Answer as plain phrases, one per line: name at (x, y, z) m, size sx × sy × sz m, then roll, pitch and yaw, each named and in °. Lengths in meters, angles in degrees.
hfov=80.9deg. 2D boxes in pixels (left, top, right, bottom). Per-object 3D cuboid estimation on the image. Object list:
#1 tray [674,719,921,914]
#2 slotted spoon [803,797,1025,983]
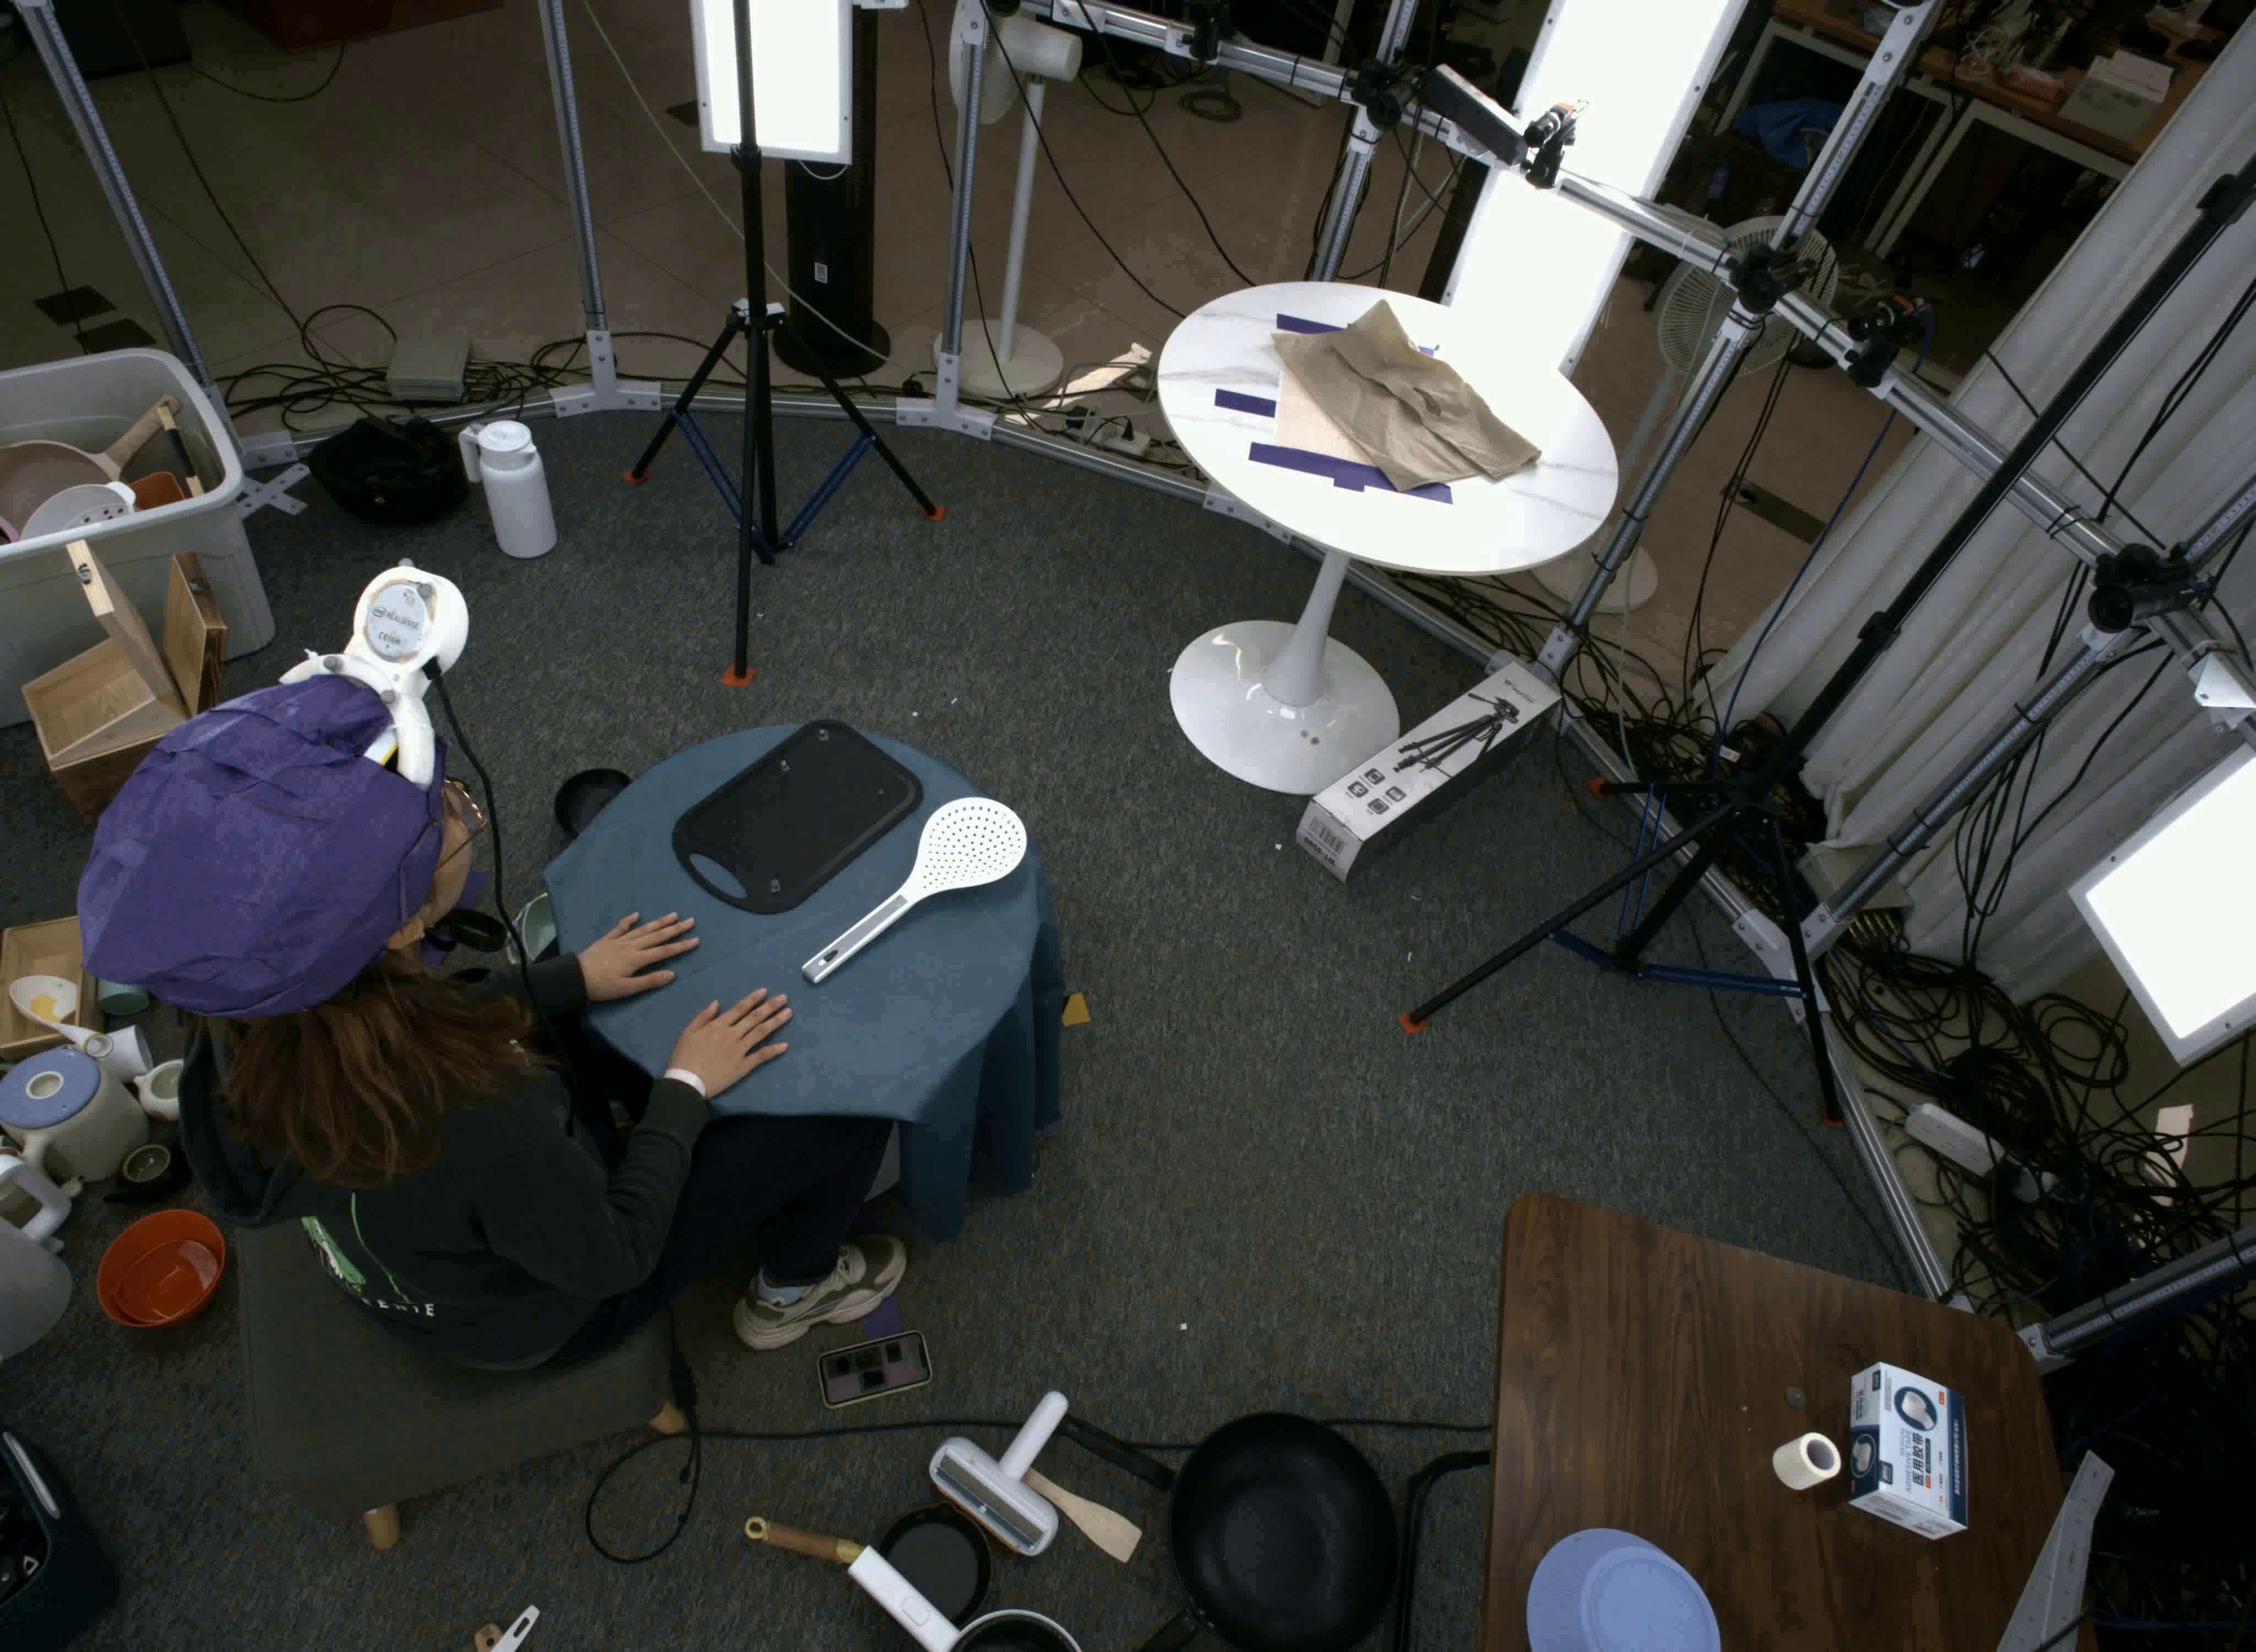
tray at (-0.443, -0.017, 1.732) m, size 0.207 × 0.010 × 0.325 m, roll 36°, pitch 54°, yaw 13°
slotted spoon at (-0.276, 0.082, 1.677) m, size 0.133 × 0.047 × 0.350 m, roll 39°, pitch 55°, yaw 18°
